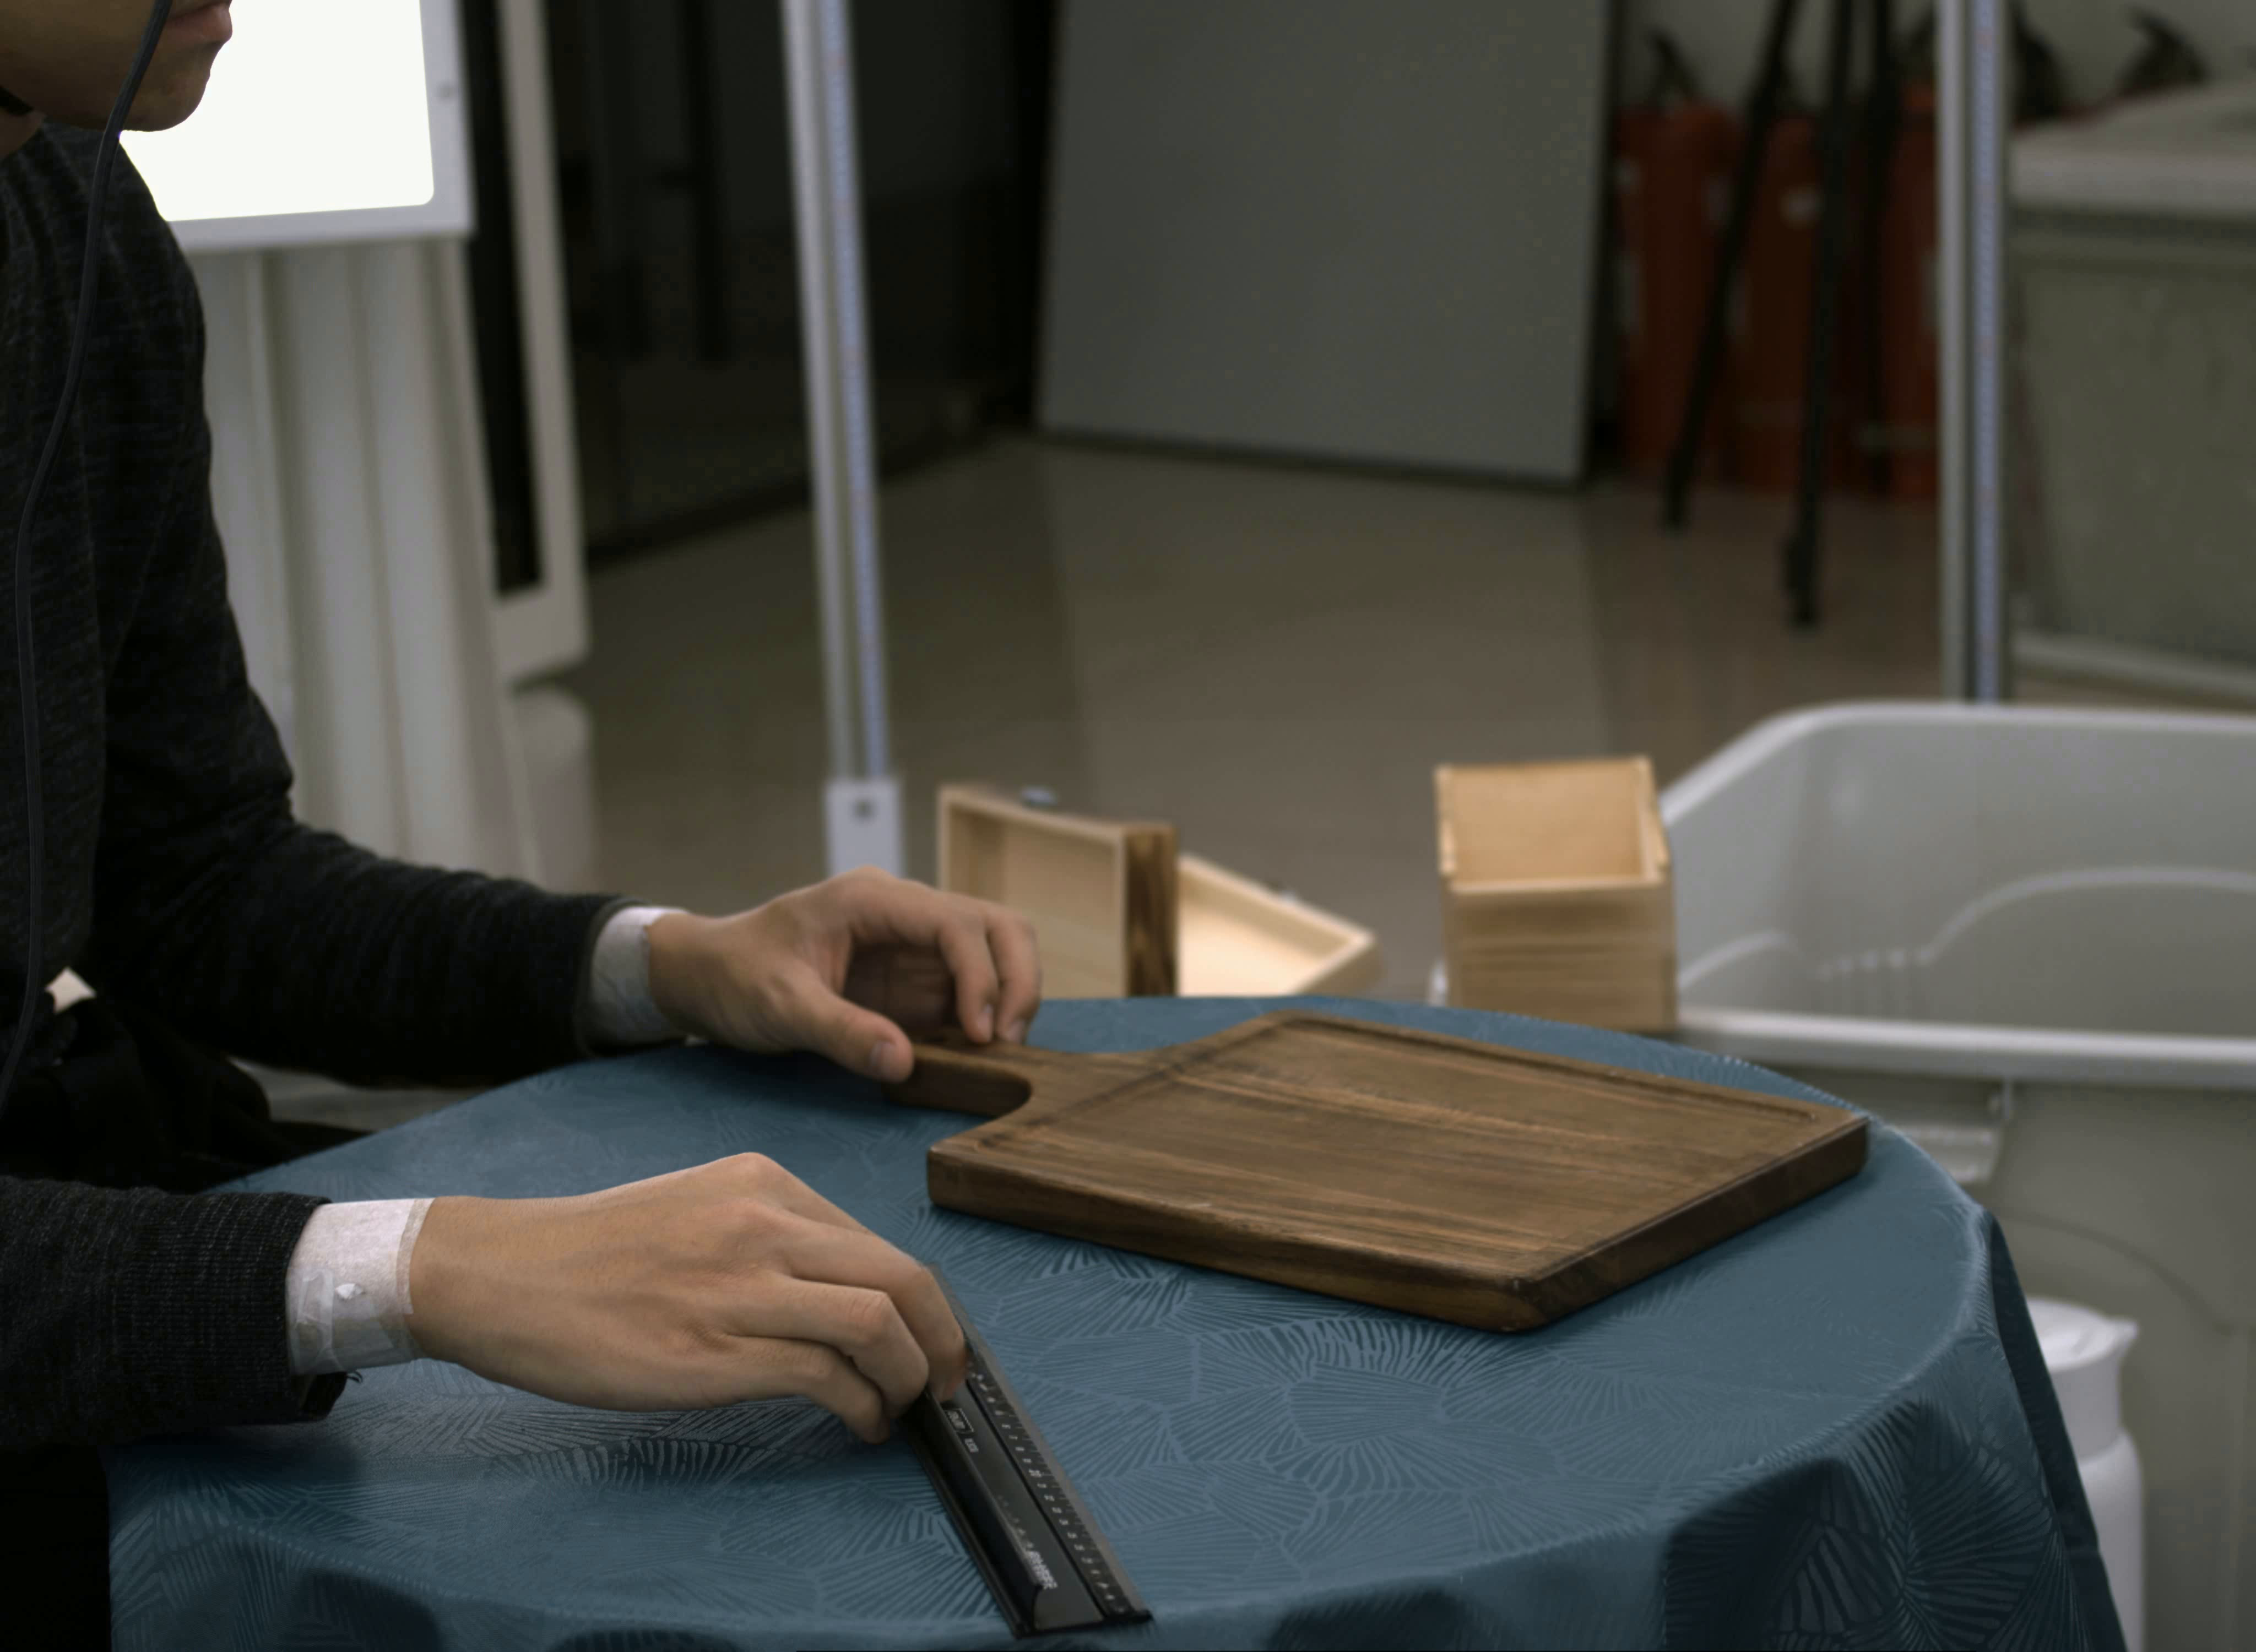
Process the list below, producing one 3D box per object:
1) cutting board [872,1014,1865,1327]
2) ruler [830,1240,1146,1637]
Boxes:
[{"bbox_3d":[0.050,0.103,1.785,0.355,0.023,0.197,7,18,41],"label":"cutting board"},{"bbox_3d":[-0.044,0.169,1.555,0.038,0.017,0.314,-4,13,-11],"label":"ruler"}]
